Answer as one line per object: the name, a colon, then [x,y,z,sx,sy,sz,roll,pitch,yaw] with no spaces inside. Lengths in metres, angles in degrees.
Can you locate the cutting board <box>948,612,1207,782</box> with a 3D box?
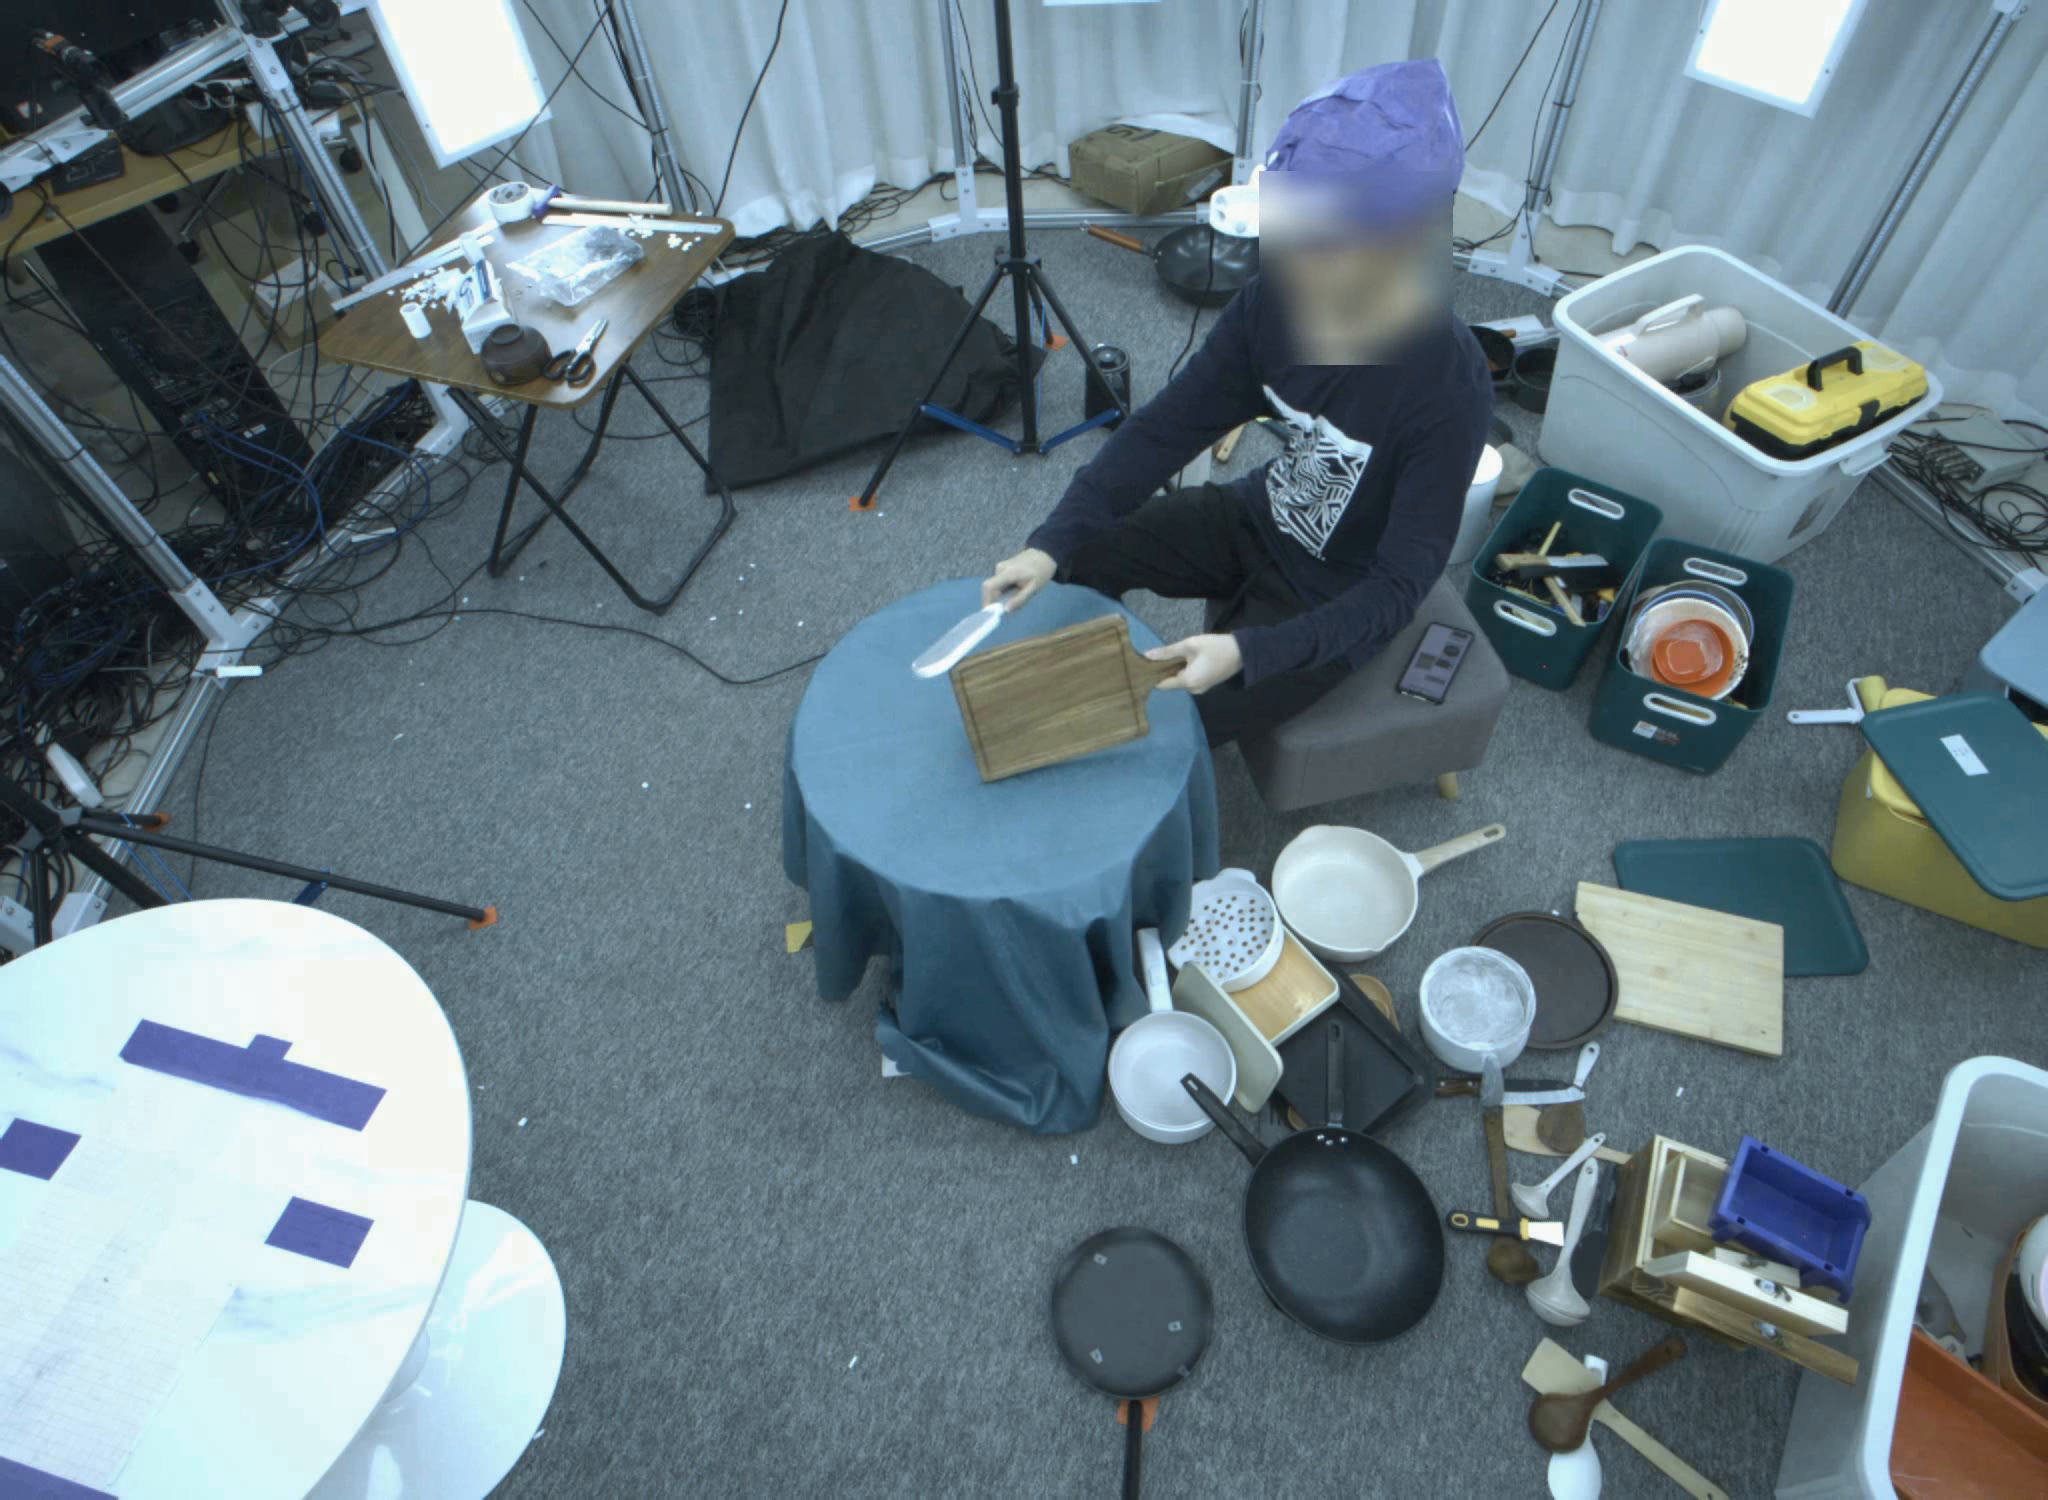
cutting board: [0.086,-0.084,1.719,0.353,0.204,0.023,-16,32,-3]

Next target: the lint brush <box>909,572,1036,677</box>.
lint brush: [-0.065,-0.182,1.735,0.059,0.021,0.311,-5,28,37]
